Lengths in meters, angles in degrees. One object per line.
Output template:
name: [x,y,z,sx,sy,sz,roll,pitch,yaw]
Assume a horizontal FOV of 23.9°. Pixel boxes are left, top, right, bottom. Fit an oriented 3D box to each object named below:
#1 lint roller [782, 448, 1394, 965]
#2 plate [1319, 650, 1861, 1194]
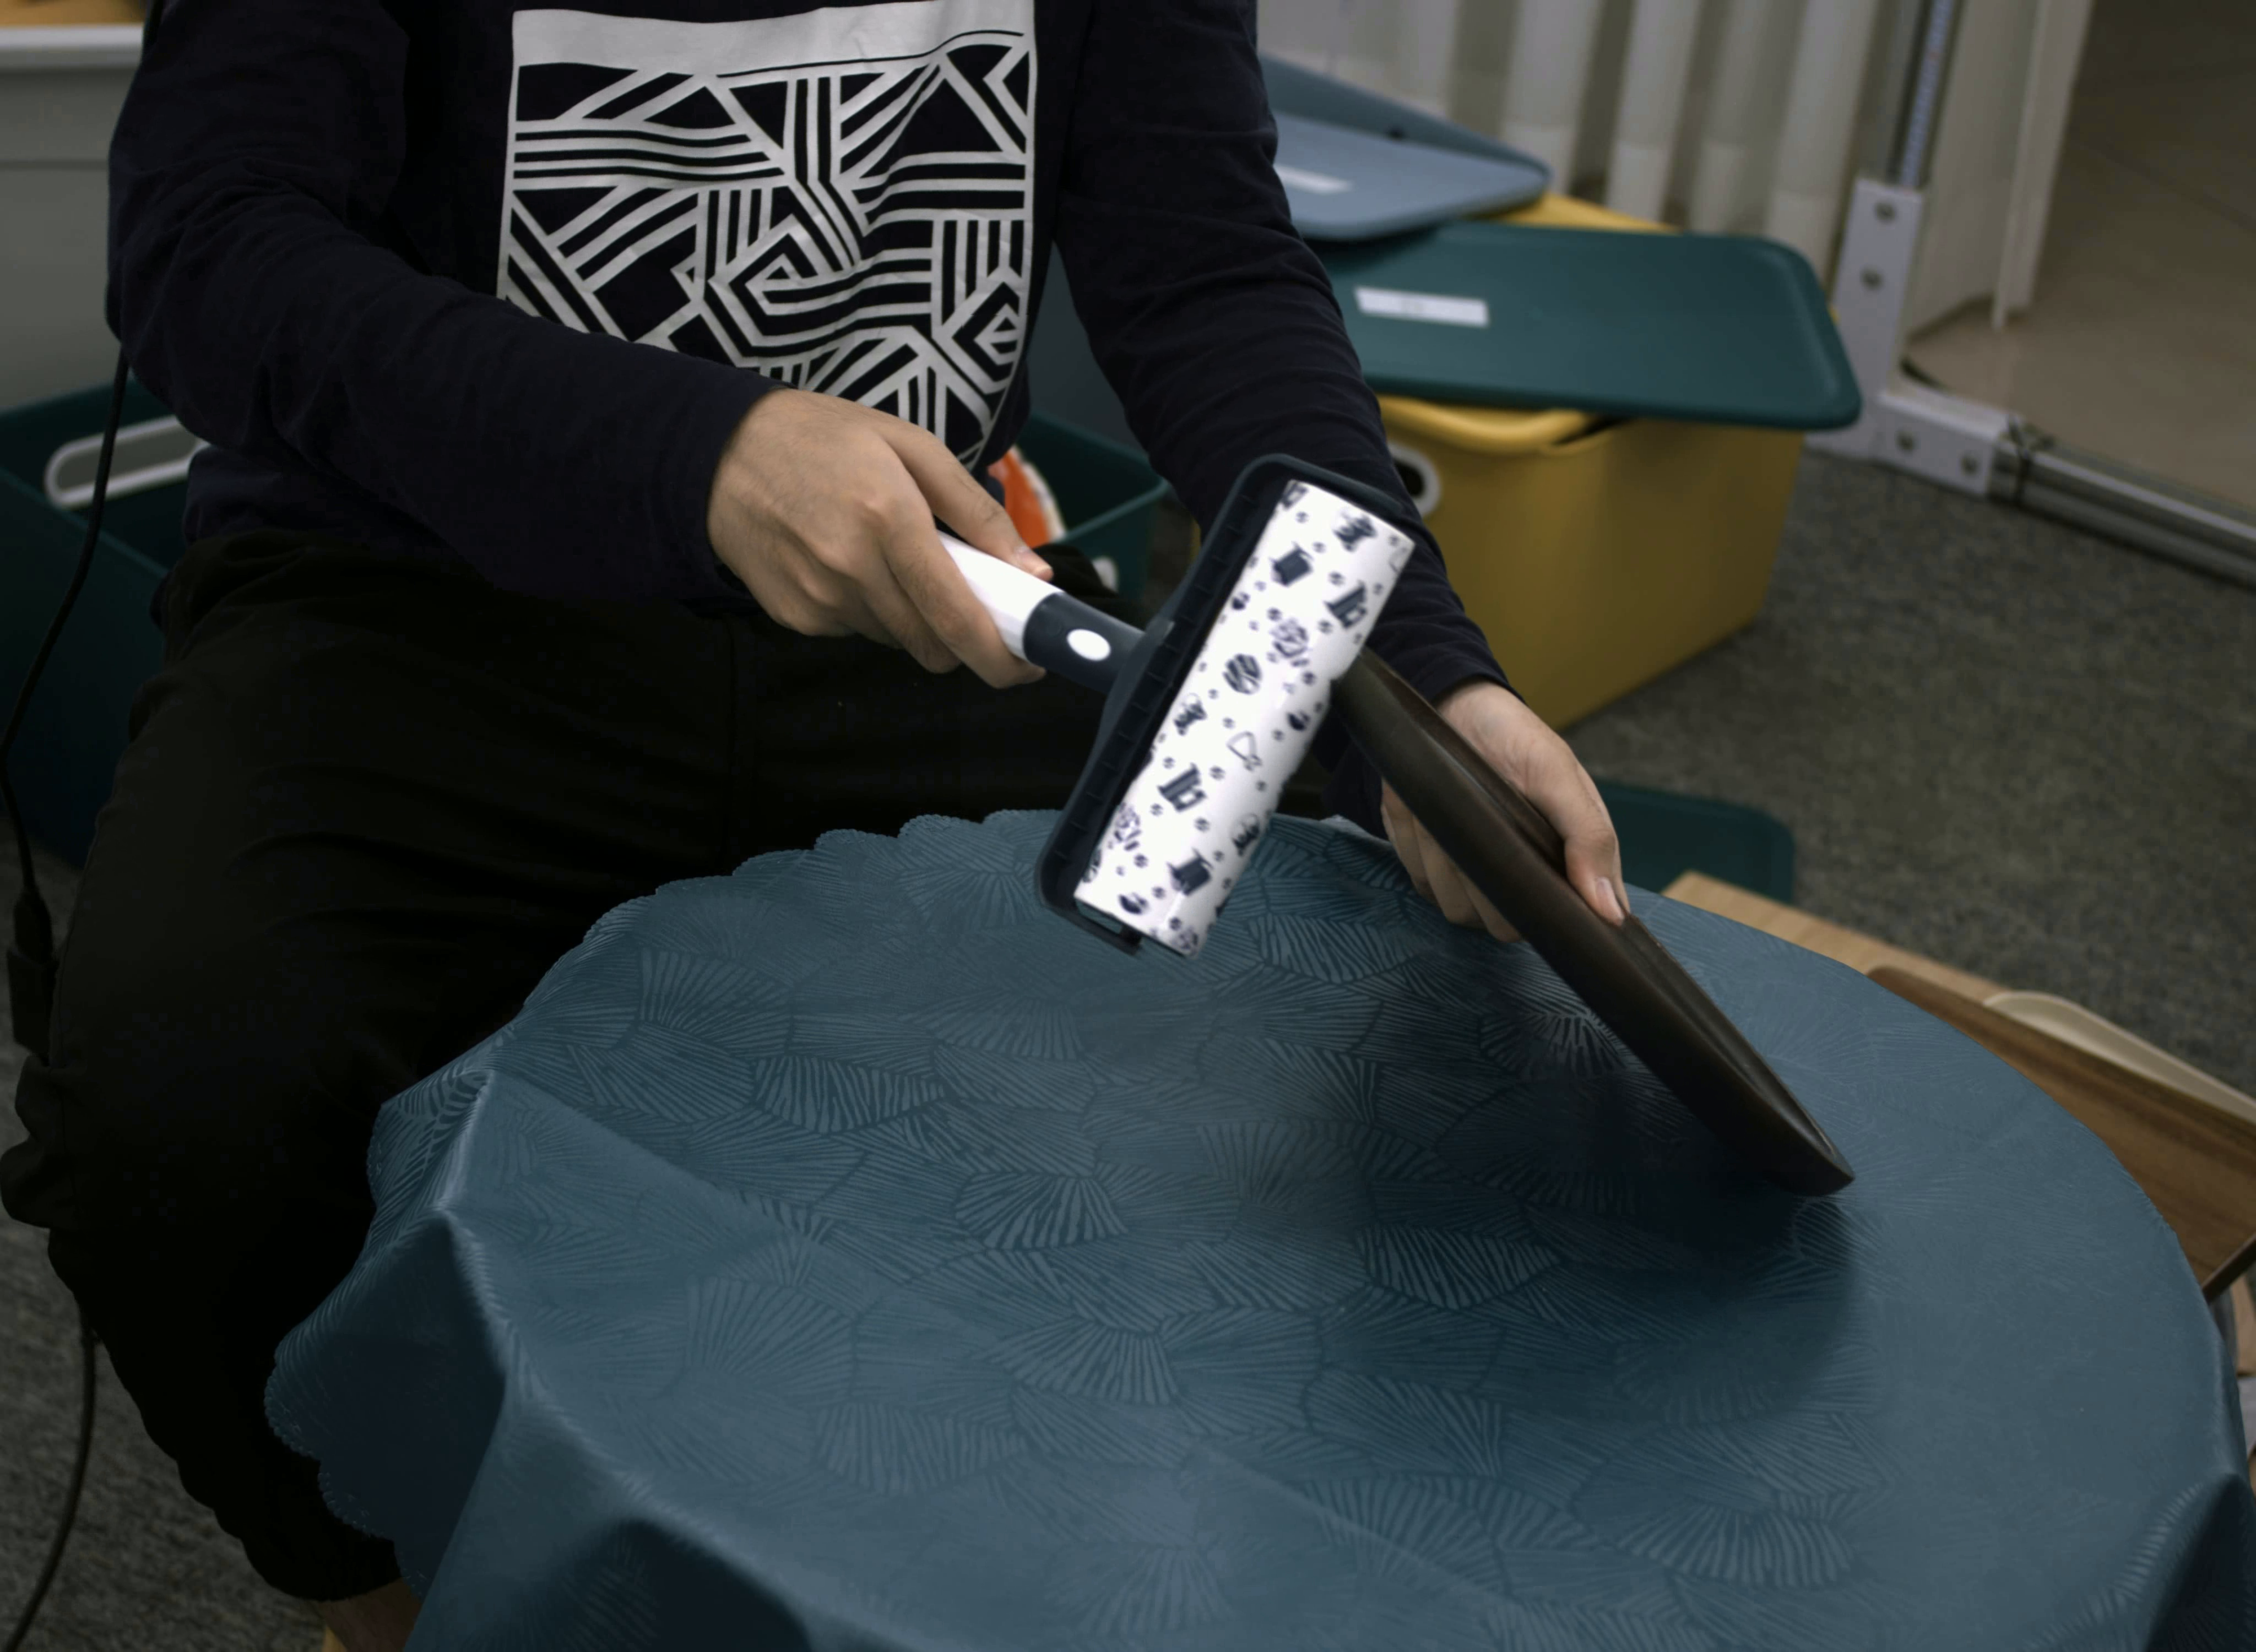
lint roller: [-0.038,-0.072,1.855,0.249,0.176,0.050,25,-1,37]
plate: [0.156,0.034,1.827,0.254,0.029,0.255,45,4,-5]
